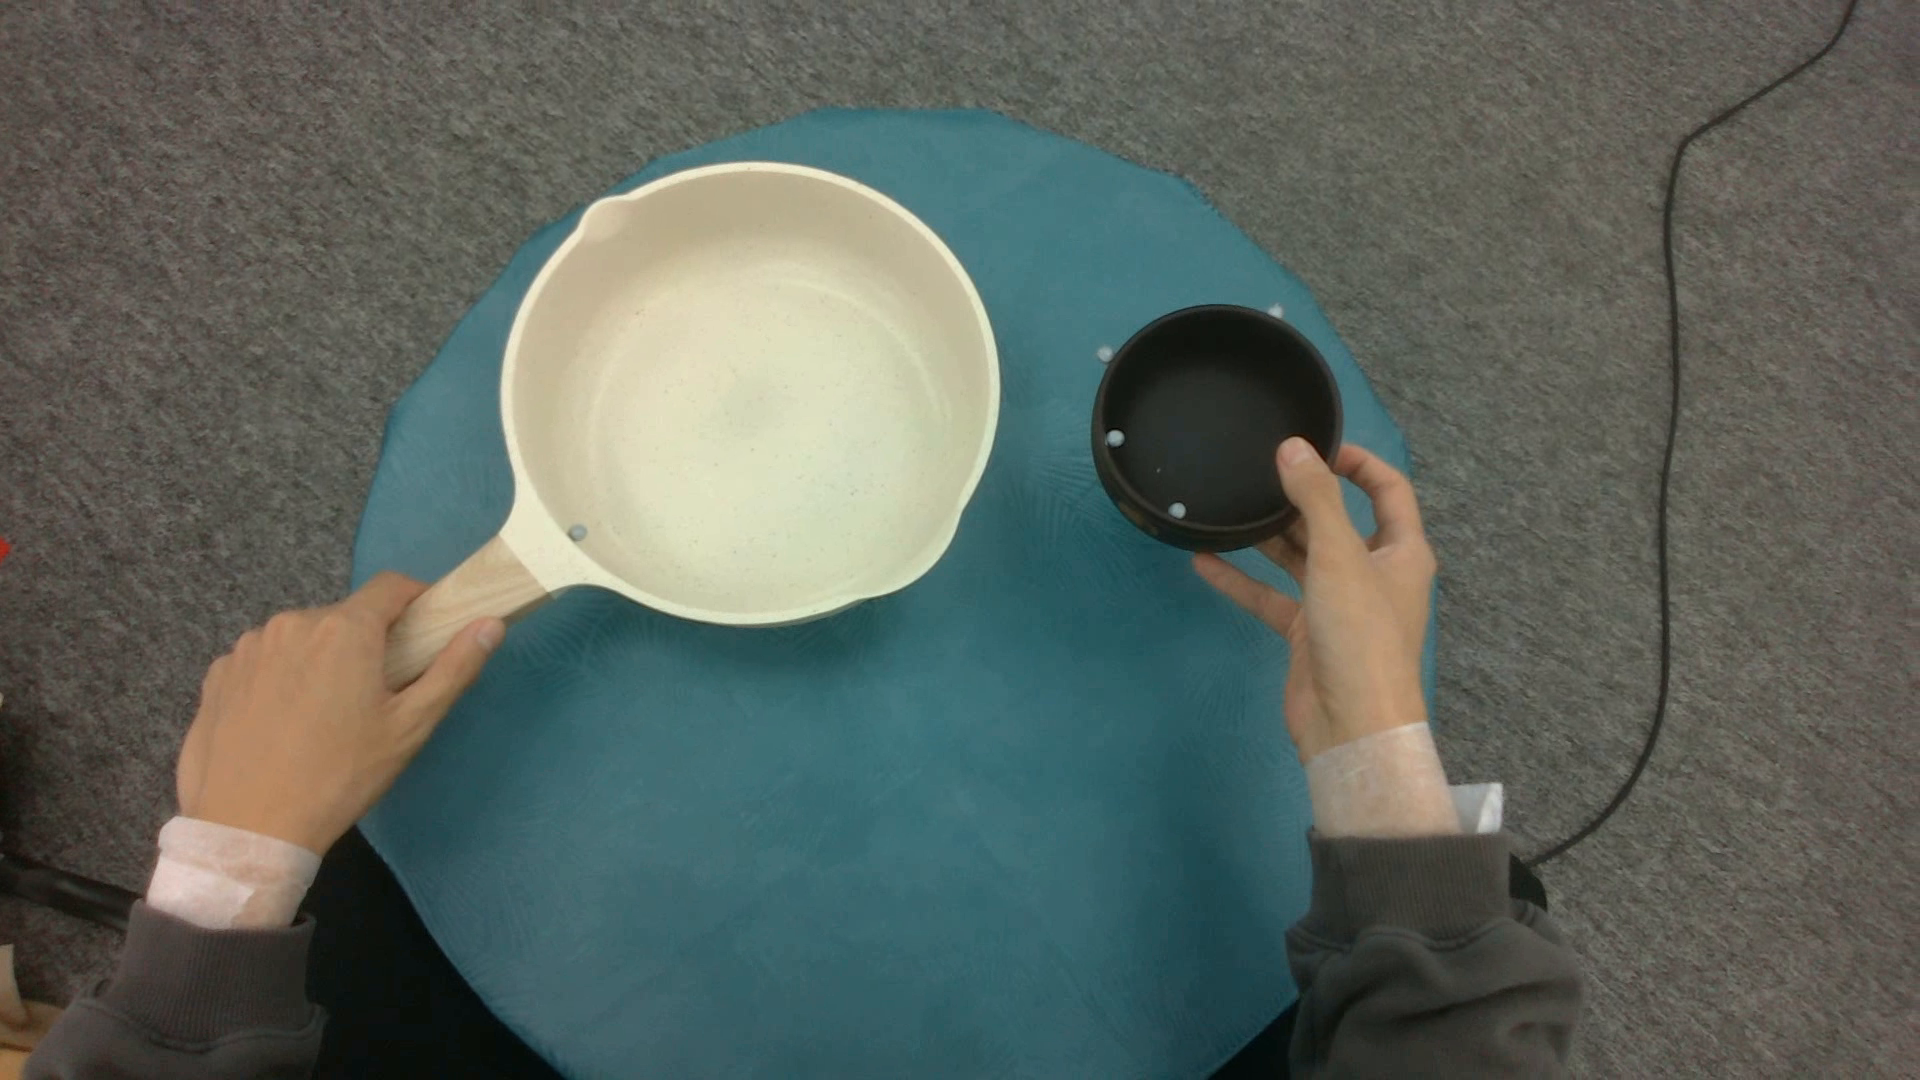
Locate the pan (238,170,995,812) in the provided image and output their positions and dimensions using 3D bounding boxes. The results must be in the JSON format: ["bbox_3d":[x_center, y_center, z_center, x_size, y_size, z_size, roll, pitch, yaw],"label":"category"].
[{"bbox_3d":[-0.176,-0.012,0.728,0.436,0.101,0.263,-41,82,-12],"label":"pan"}]

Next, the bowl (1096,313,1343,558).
[{"bbox_3d":[0.126,-0.046,0.687,0.118,0.069,0.118,-1,74,2],"label":"bowl"}]
